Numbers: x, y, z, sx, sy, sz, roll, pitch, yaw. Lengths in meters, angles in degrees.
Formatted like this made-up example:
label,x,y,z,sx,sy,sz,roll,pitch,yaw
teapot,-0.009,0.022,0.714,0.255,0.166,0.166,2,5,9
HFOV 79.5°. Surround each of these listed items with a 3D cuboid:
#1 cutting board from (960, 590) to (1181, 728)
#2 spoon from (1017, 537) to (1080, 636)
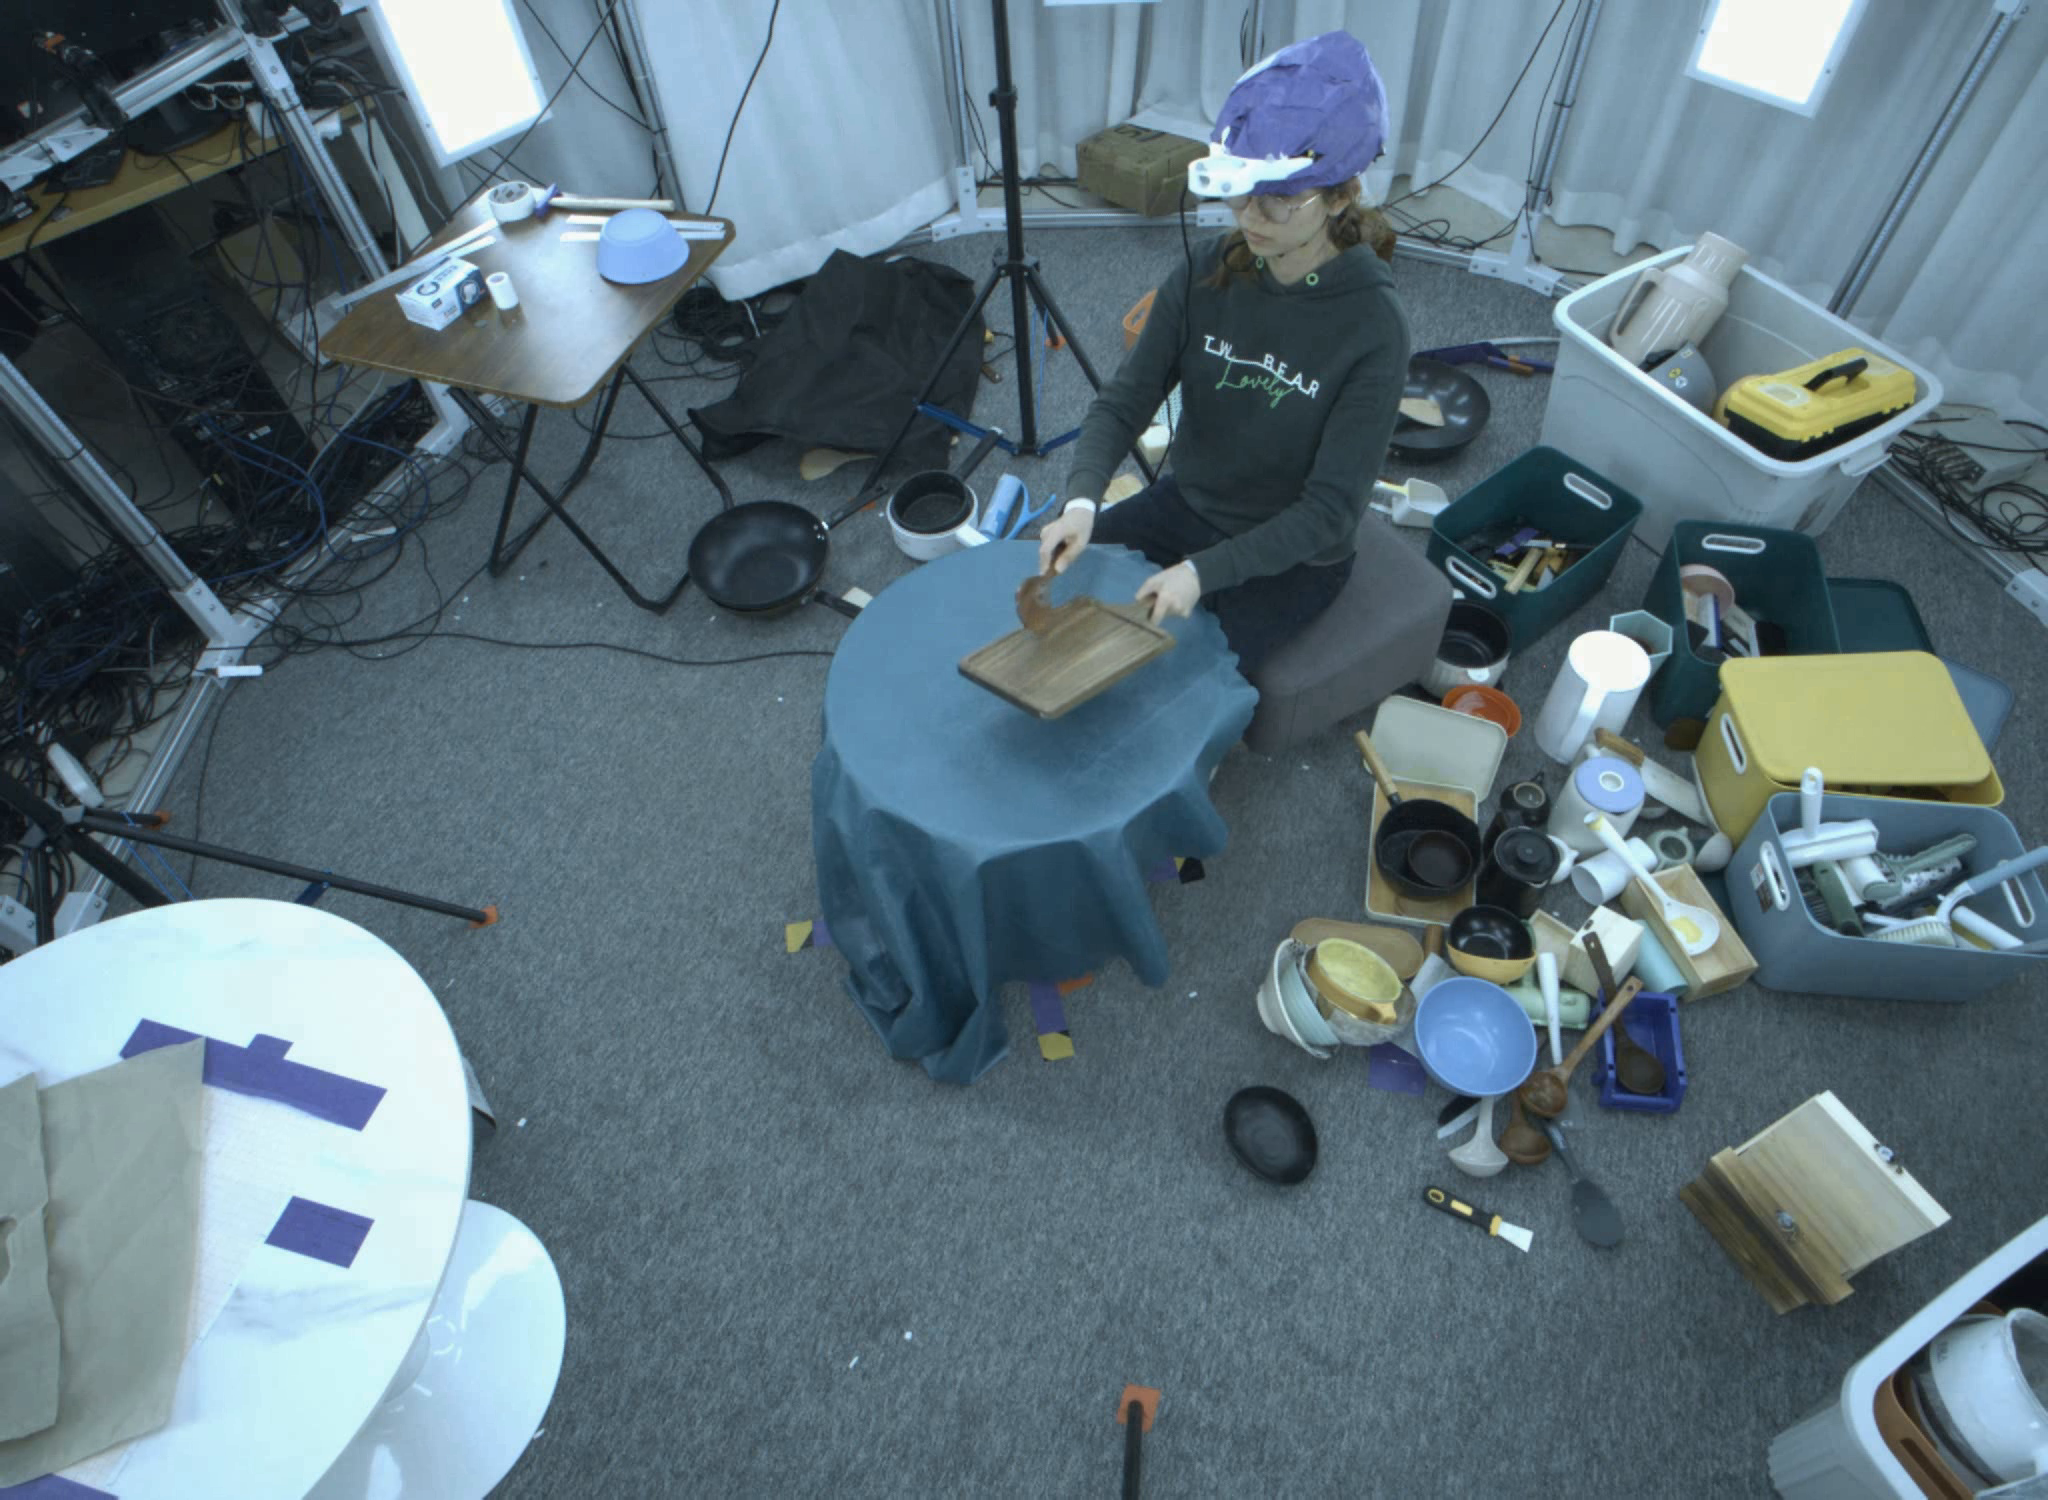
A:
label,x,y,z,sx,sy,sz,roll,pitch,yaw
cutting board,0.100,-0.150,1.760,0.356,0.023,0.196,-32,43,-30
spoon,0.039,-0.242,1.780,0.017,0.077,0.216,-14,35,38
